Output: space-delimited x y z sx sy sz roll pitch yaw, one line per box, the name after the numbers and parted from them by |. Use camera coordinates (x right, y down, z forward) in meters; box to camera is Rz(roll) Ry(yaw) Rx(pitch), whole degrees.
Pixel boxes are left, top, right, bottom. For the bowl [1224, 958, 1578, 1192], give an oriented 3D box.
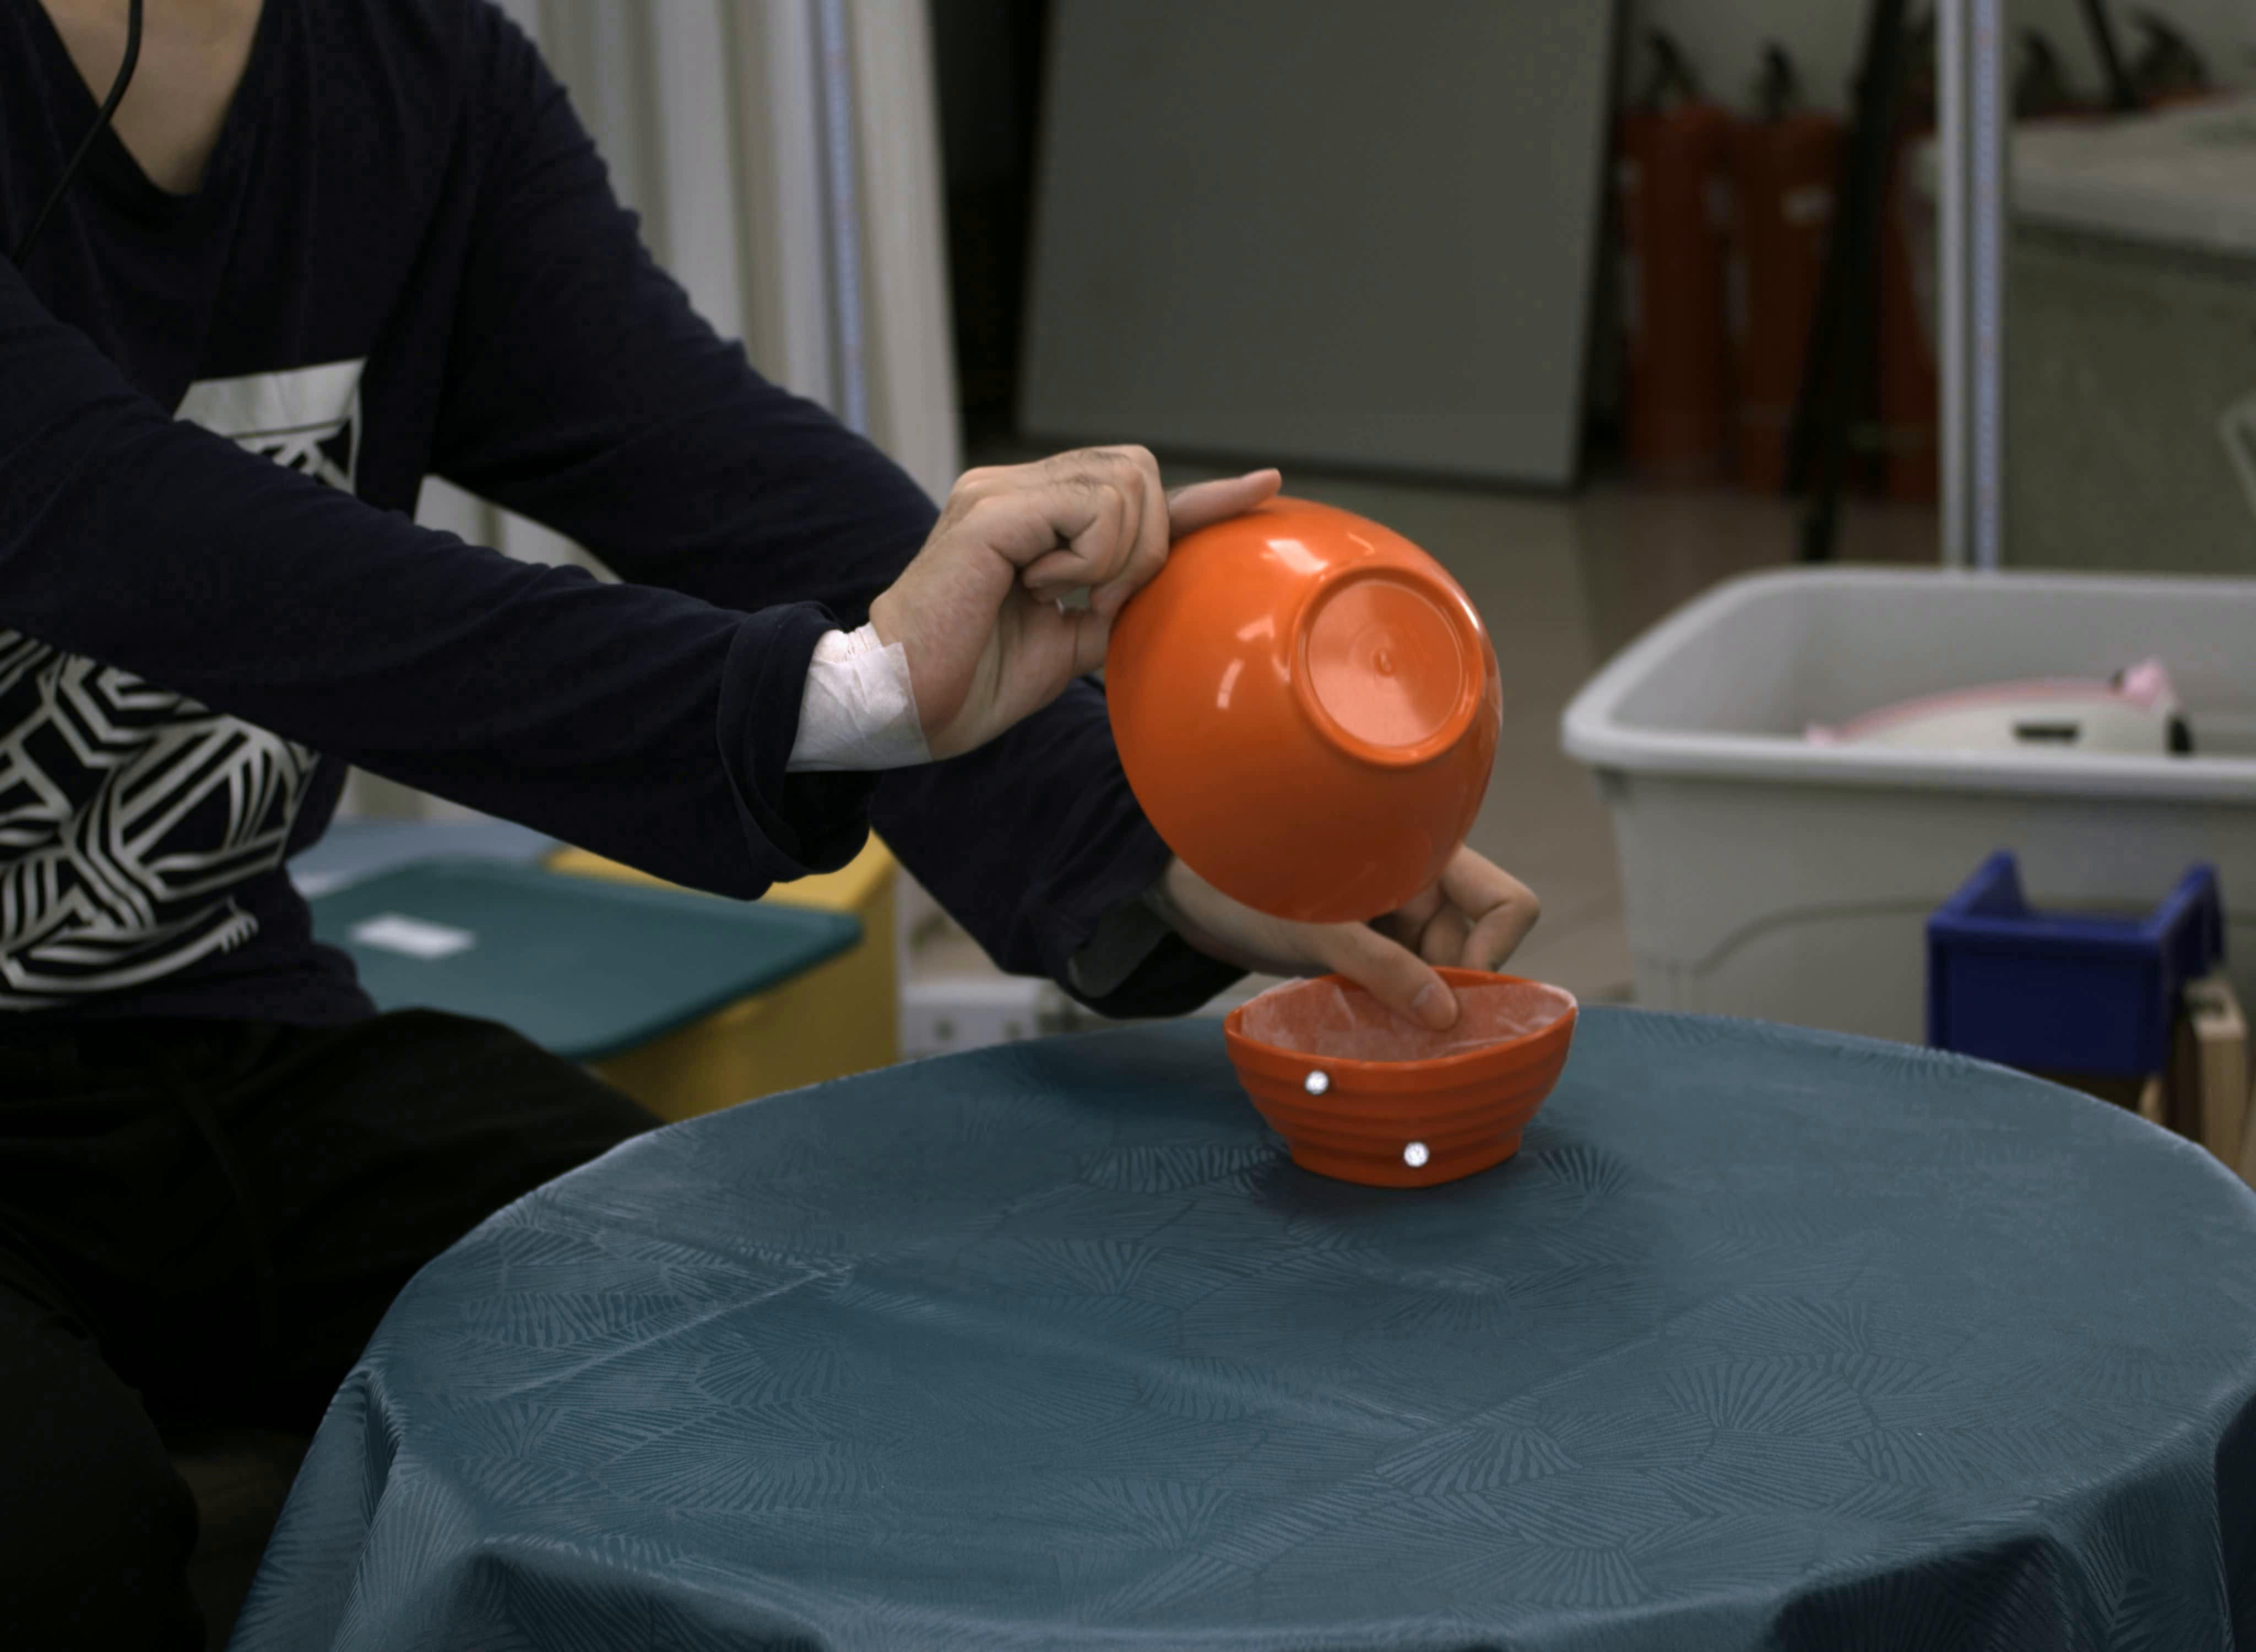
0.091 0.084 1.785 0.117 0.052 0.119 -3 16 0 | bowl

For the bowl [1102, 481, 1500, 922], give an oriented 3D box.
0.070 -0.048 1.727 0.145 0.150 0.105 -9 -7 -23 | bowl
